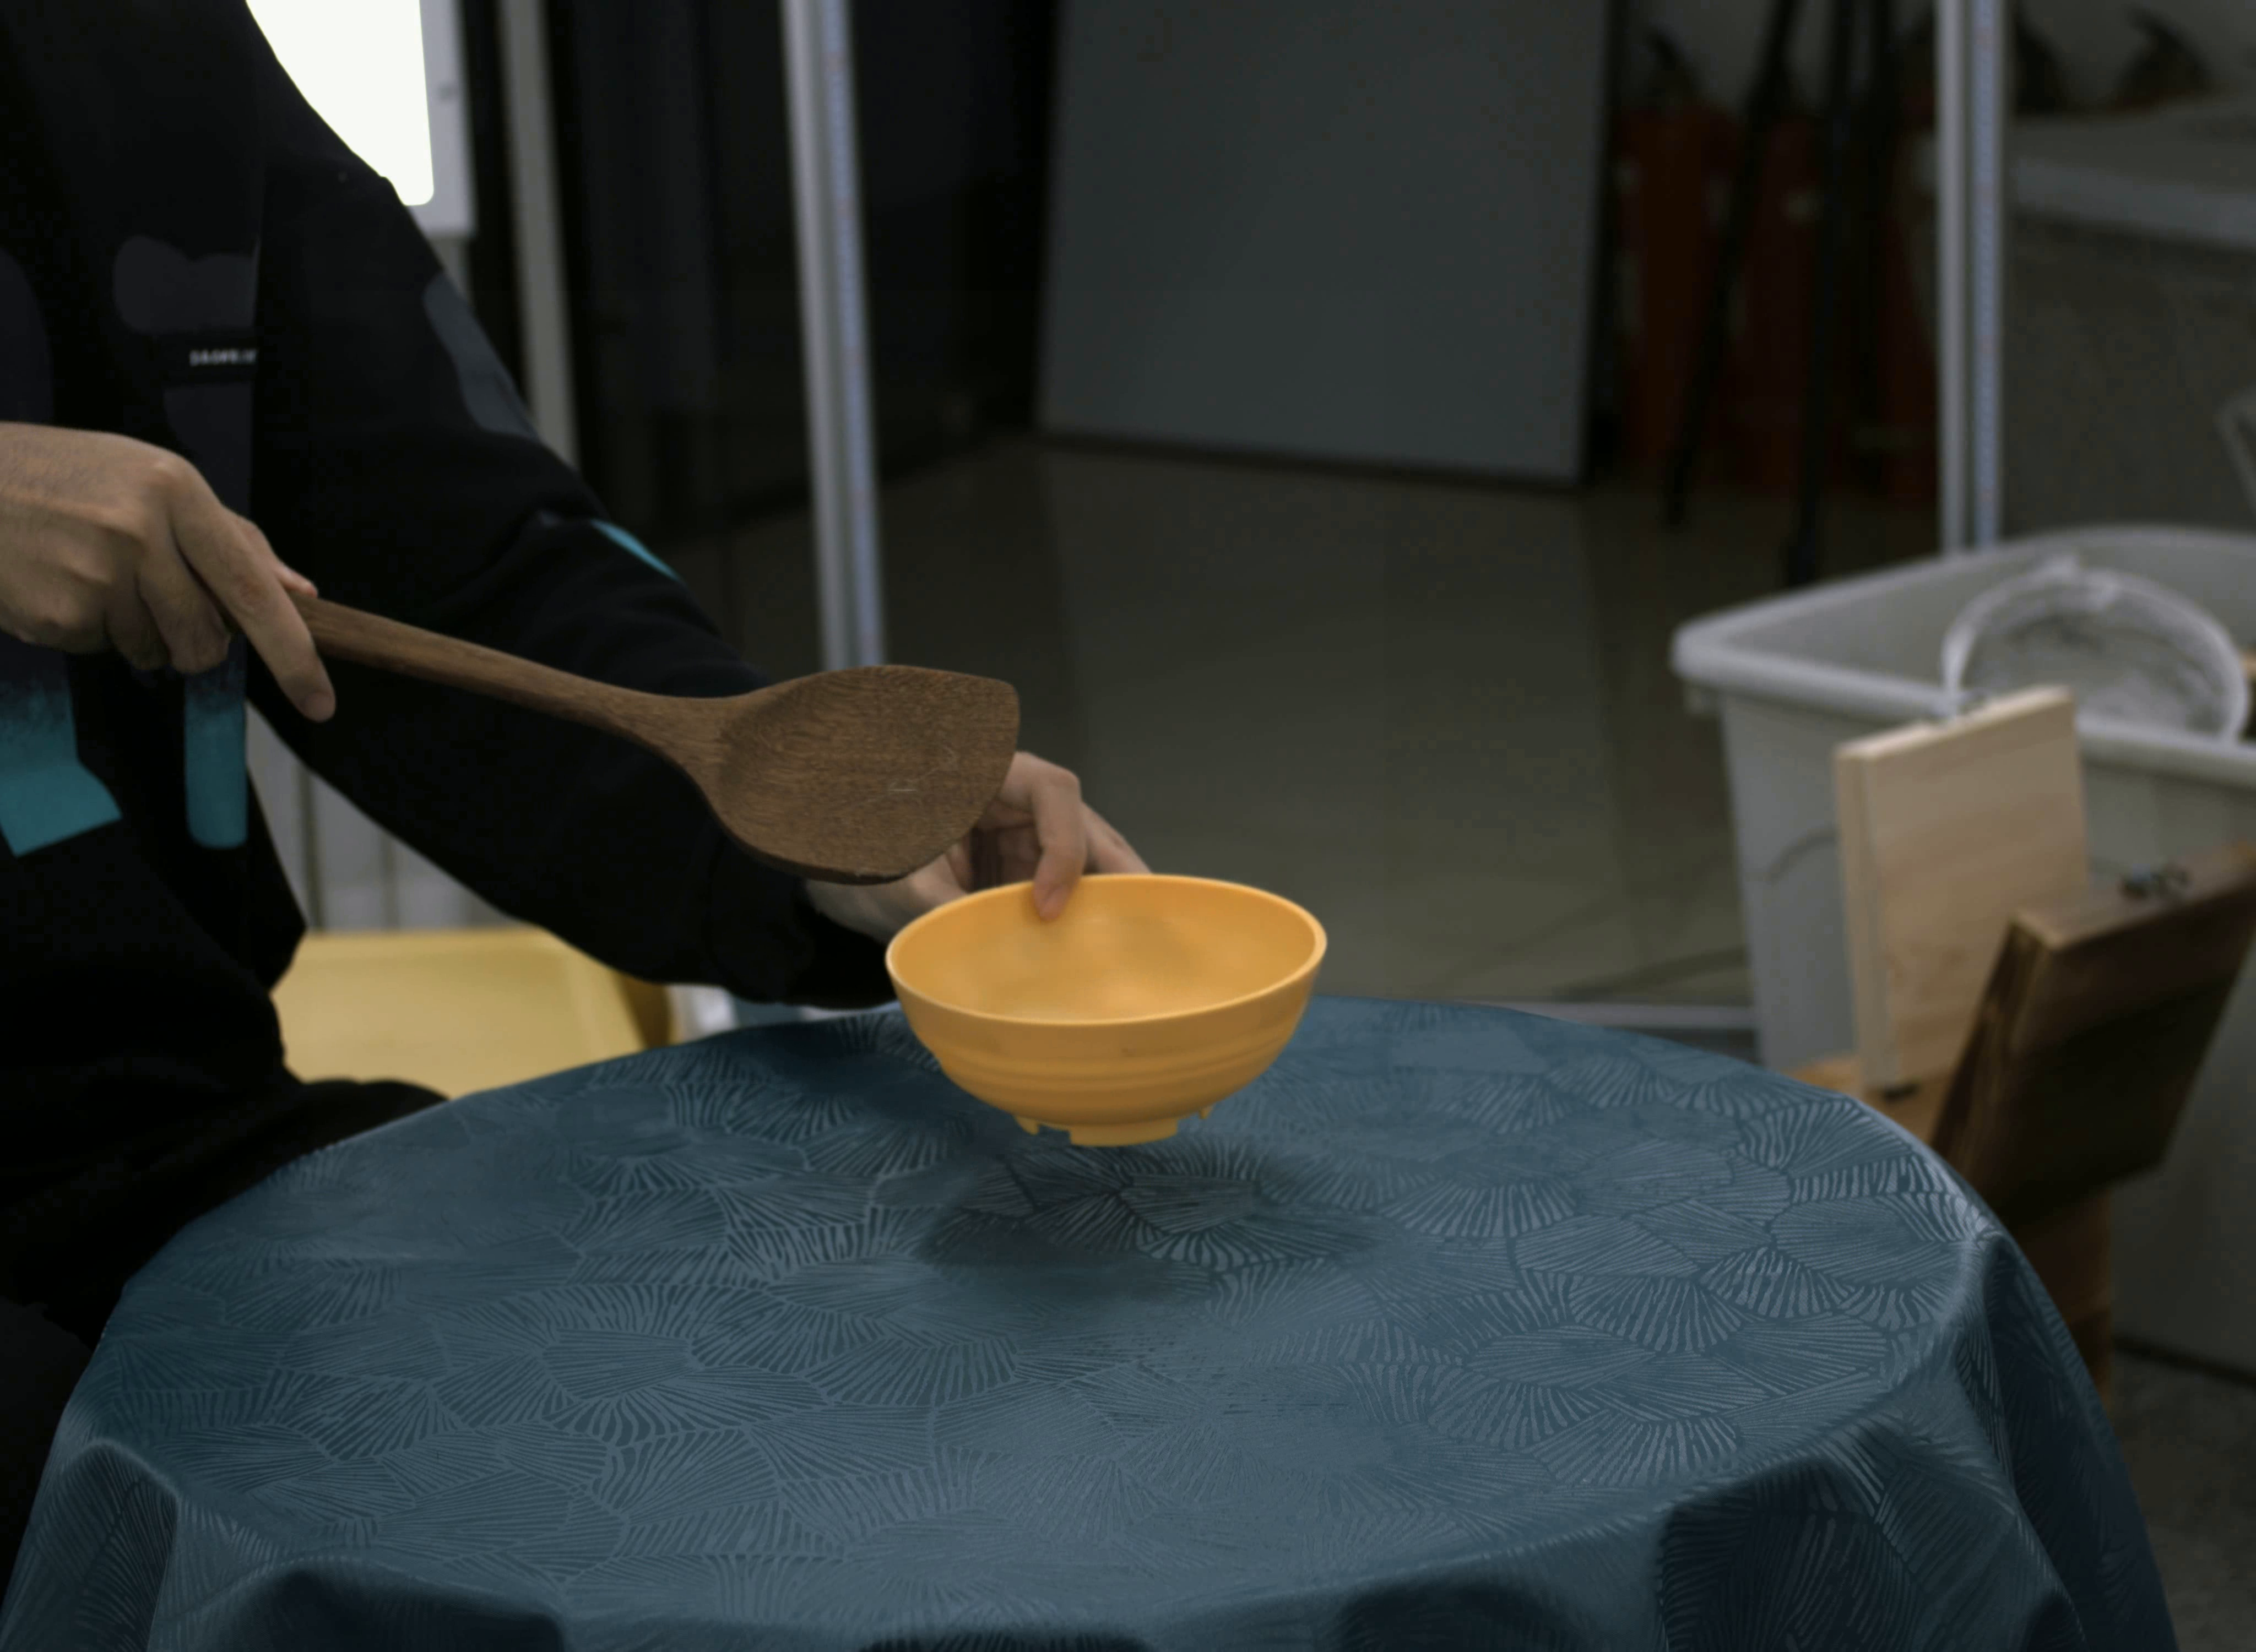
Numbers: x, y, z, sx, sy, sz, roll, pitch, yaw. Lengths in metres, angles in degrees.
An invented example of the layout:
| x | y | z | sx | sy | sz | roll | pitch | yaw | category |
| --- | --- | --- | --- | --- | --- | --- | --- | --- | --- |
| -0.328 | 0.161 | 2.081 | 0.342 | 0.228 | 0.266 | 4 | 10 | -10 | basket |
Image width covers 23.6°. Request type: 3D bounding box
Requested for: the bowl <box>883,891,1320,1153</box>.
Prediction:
| x | y | z | sx | sy | sz | roll | pitch | yaw | category |
| --- | --- | --- | --- | --- | --- | --- | --- | --- | --- |
| -0.008 | 0.068 | 1.760 | 0.143 | 0.061 | 0.145 | -3 | 15 | 0 | bowl |

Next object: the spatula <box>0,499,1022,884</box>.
| x | y | z | sx | sy | sz | roll | pitch | yaw | category |
| --- | --- | --- | --- | --- | --- | --- | --- | --- | --- |
| -0.216 | -0.054 | 1.743 | 0.385 | 0.016 | 0.096 | 15 | 50 | 19 | spatula |
